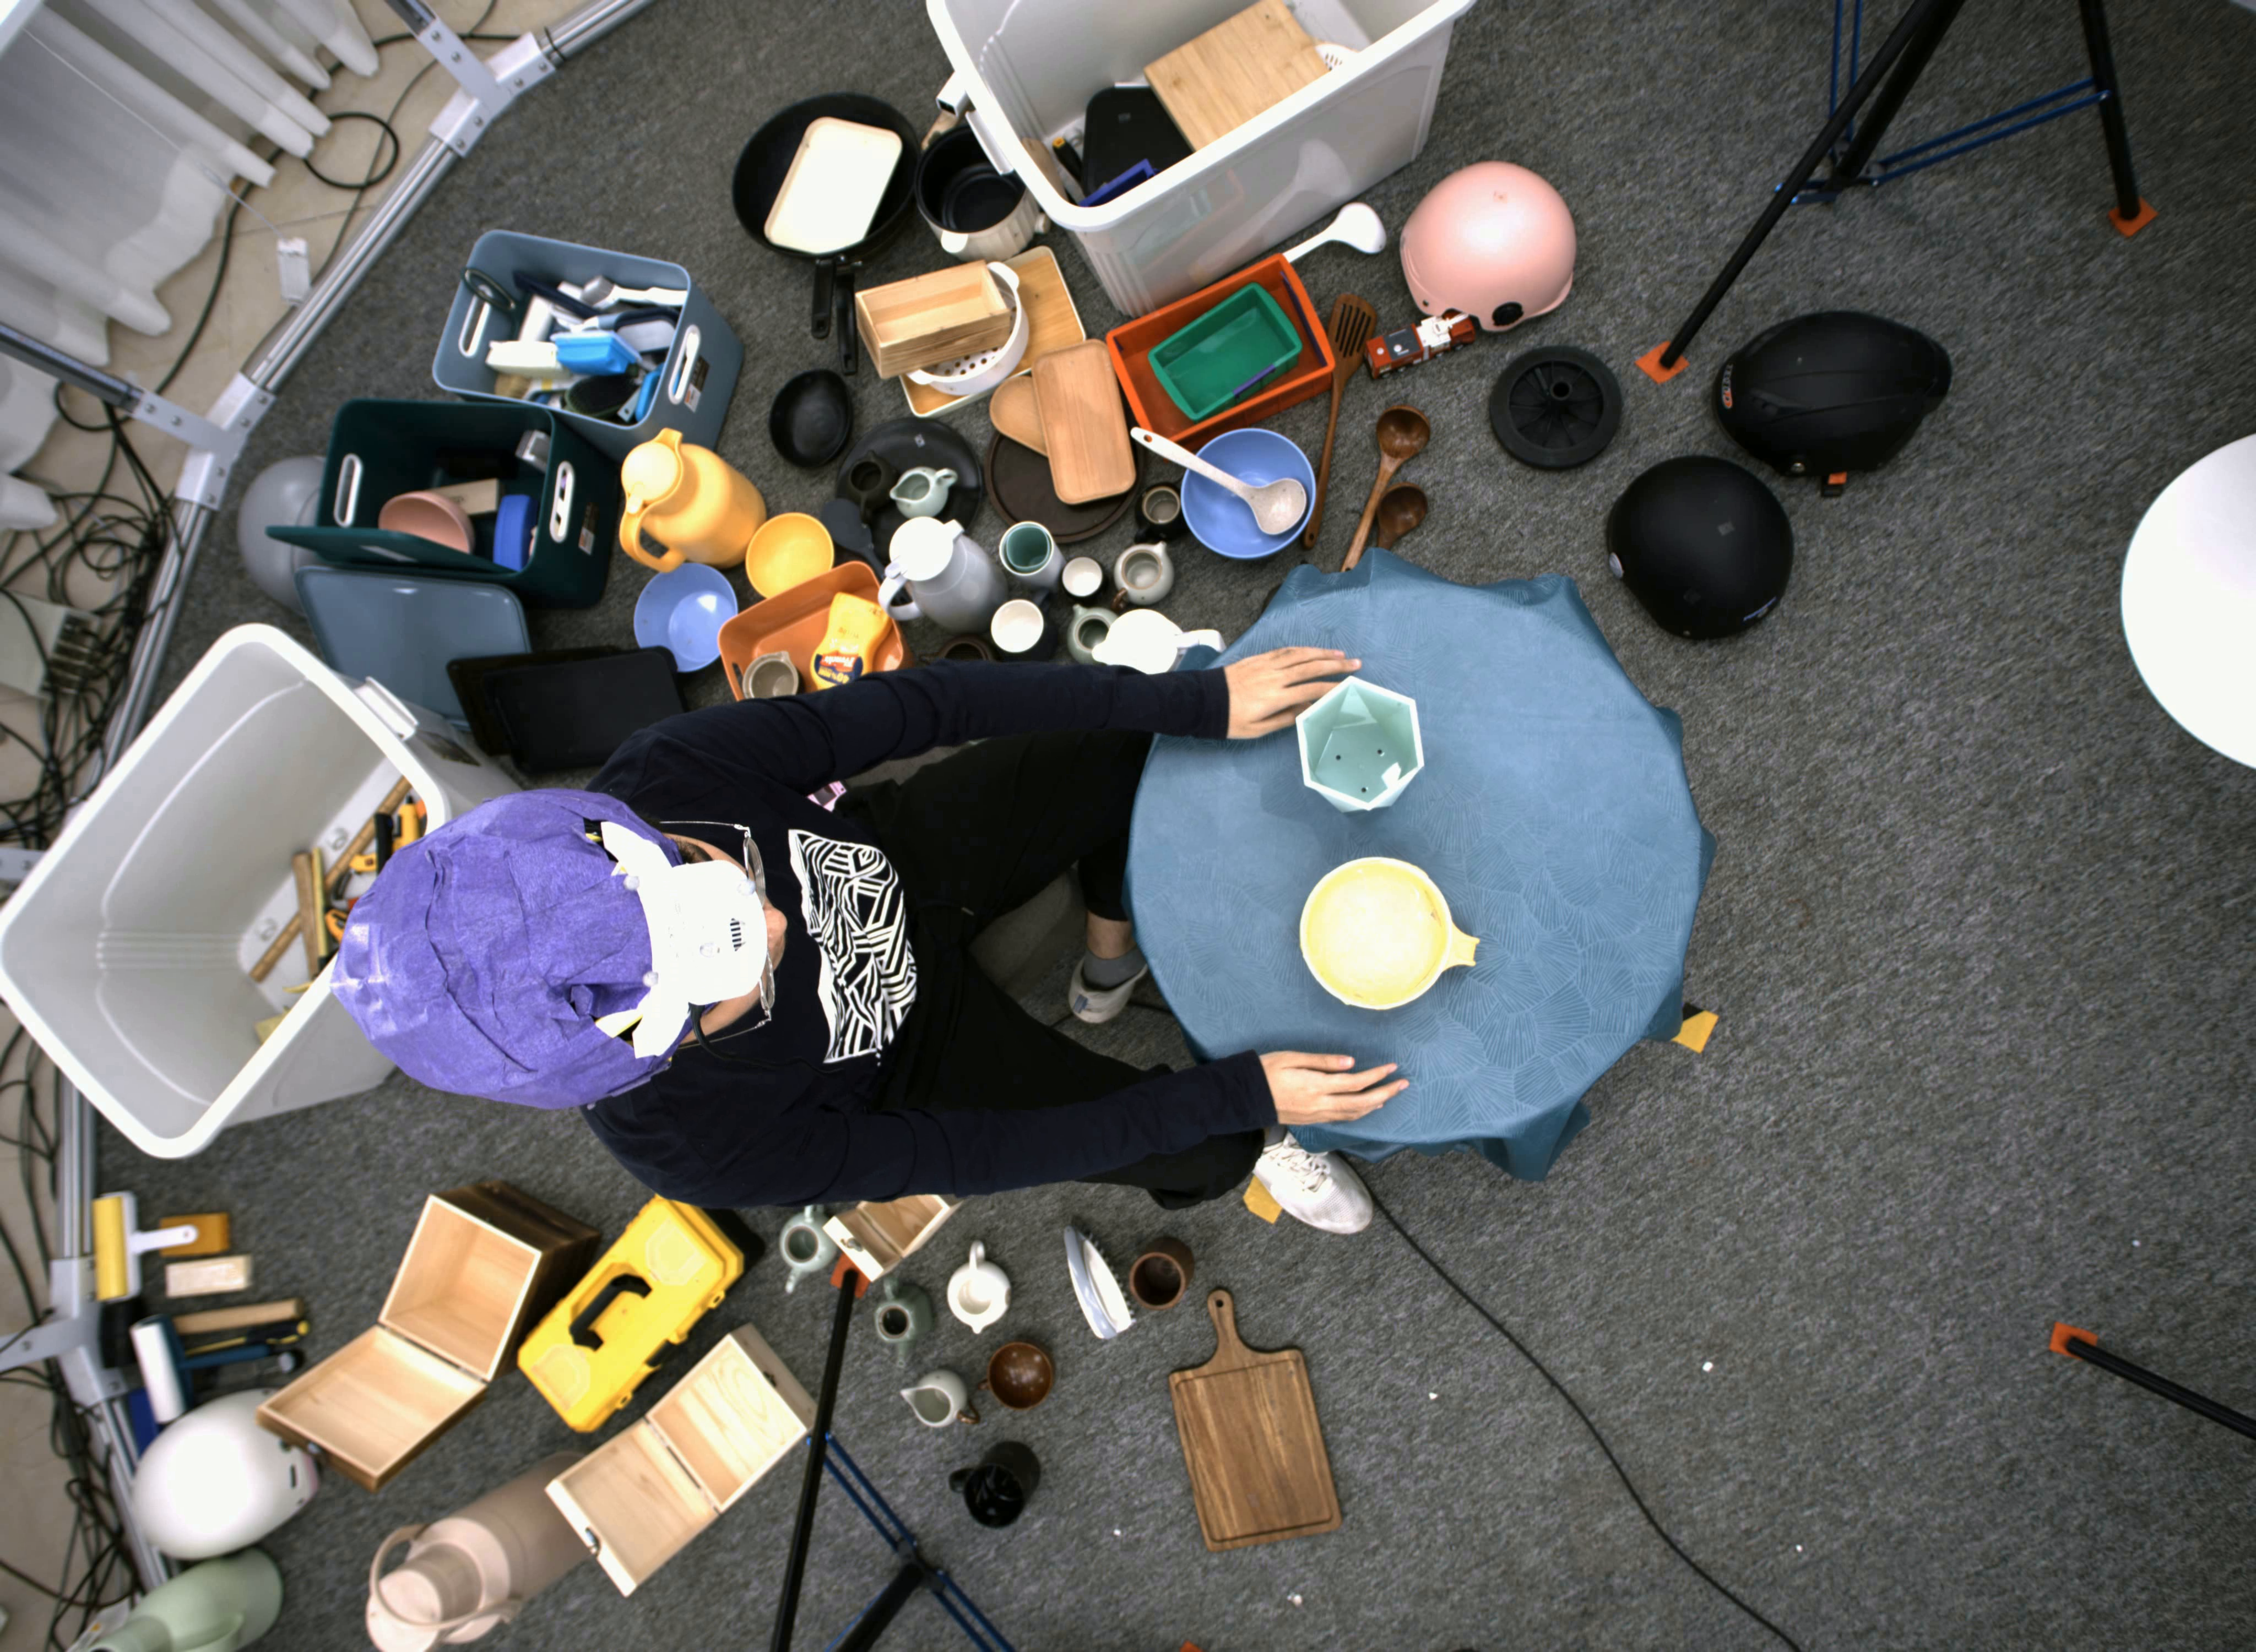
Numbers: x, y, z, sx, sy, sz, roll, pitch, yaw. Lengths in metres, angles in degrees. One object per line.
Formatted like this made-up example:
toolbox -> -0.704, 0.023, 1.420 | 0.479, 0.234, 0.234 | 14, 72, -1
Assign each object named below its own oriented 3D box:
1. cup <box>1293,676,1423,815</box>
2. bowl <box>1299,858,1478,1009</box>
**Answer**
cup -> 0.235, -0.073, 1.390 | 0.116, 0.163, 0.130 | -11, 82, 11
bowl -> 0.268, 0.112, 1.424 | 0.180, 0.074, 0.152 | 7, 88, 13
